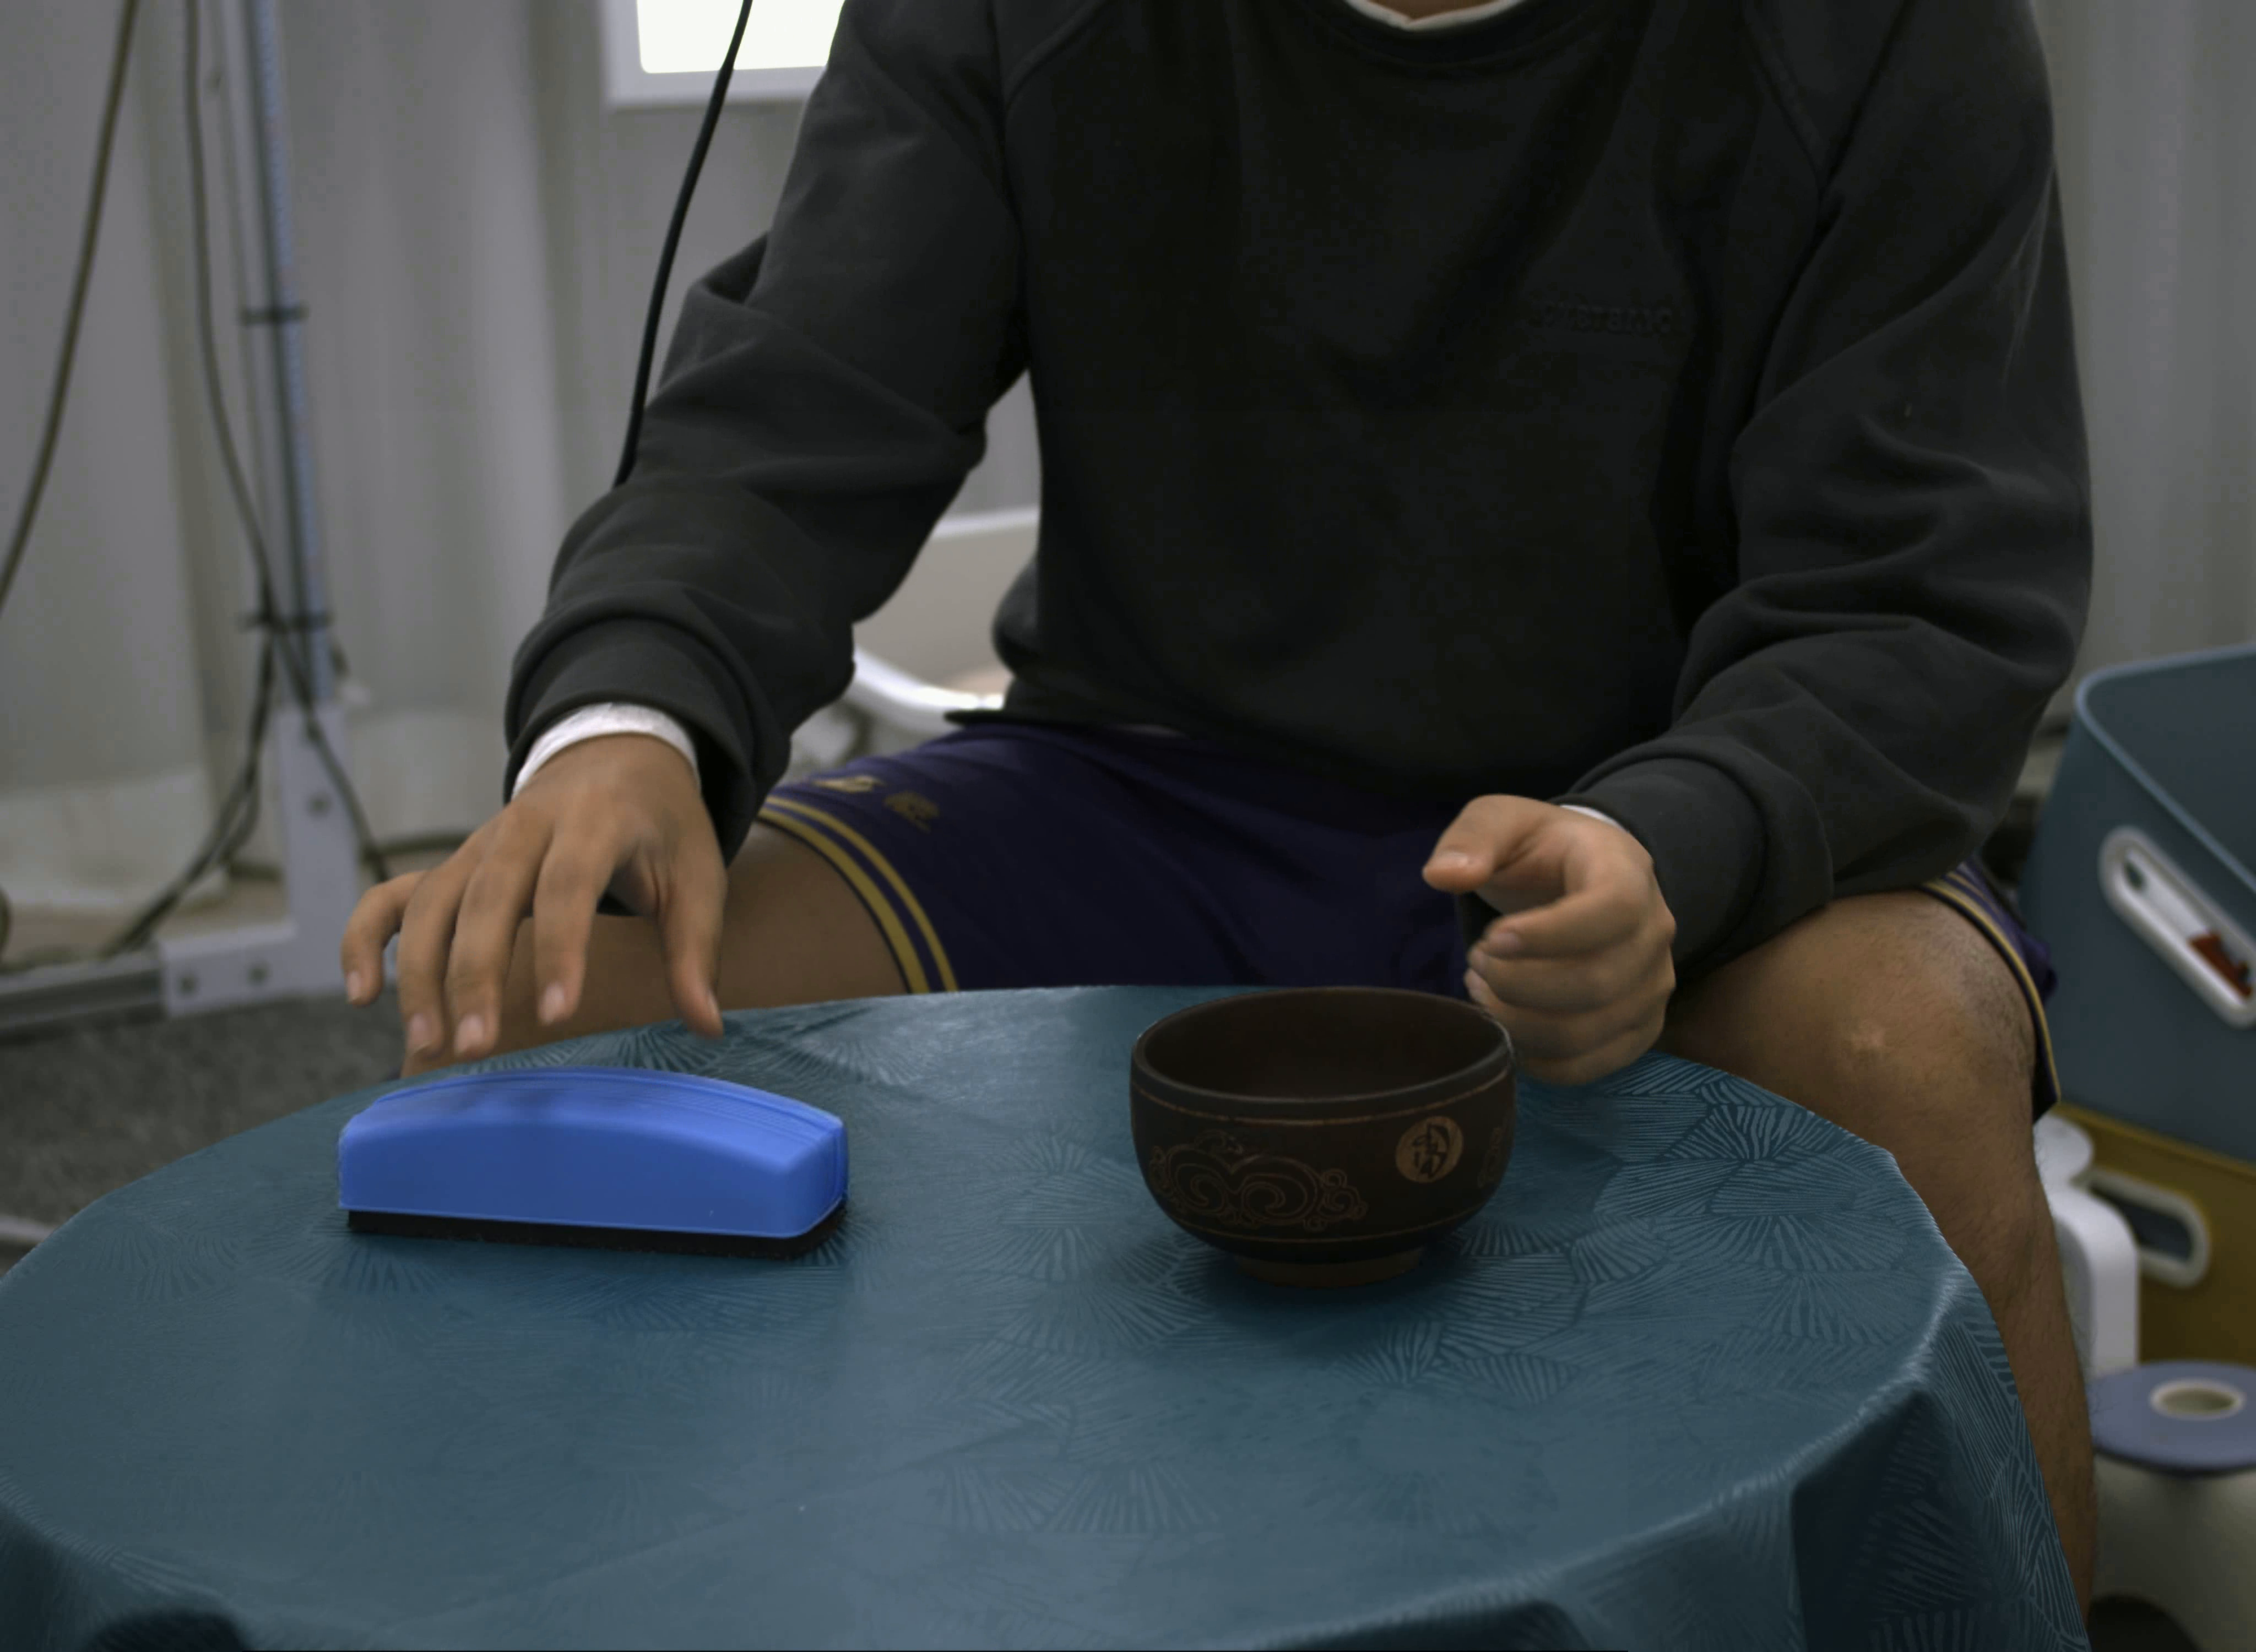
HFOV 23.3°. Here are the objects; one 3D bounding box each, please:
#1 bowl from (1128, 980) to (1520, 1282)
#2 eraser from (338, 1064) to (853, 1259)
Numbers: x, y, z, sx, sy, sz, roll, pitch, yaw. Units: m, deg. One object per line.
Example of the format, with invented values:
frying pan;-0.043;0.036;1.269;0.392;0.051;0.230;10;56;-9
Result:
bowl;0.059;0.095;1.636;0.117;0.069;0.119;-3;13;1
eraser;-0.167;0.102;1.707;0.162;0.047;0.054;2;16;18
